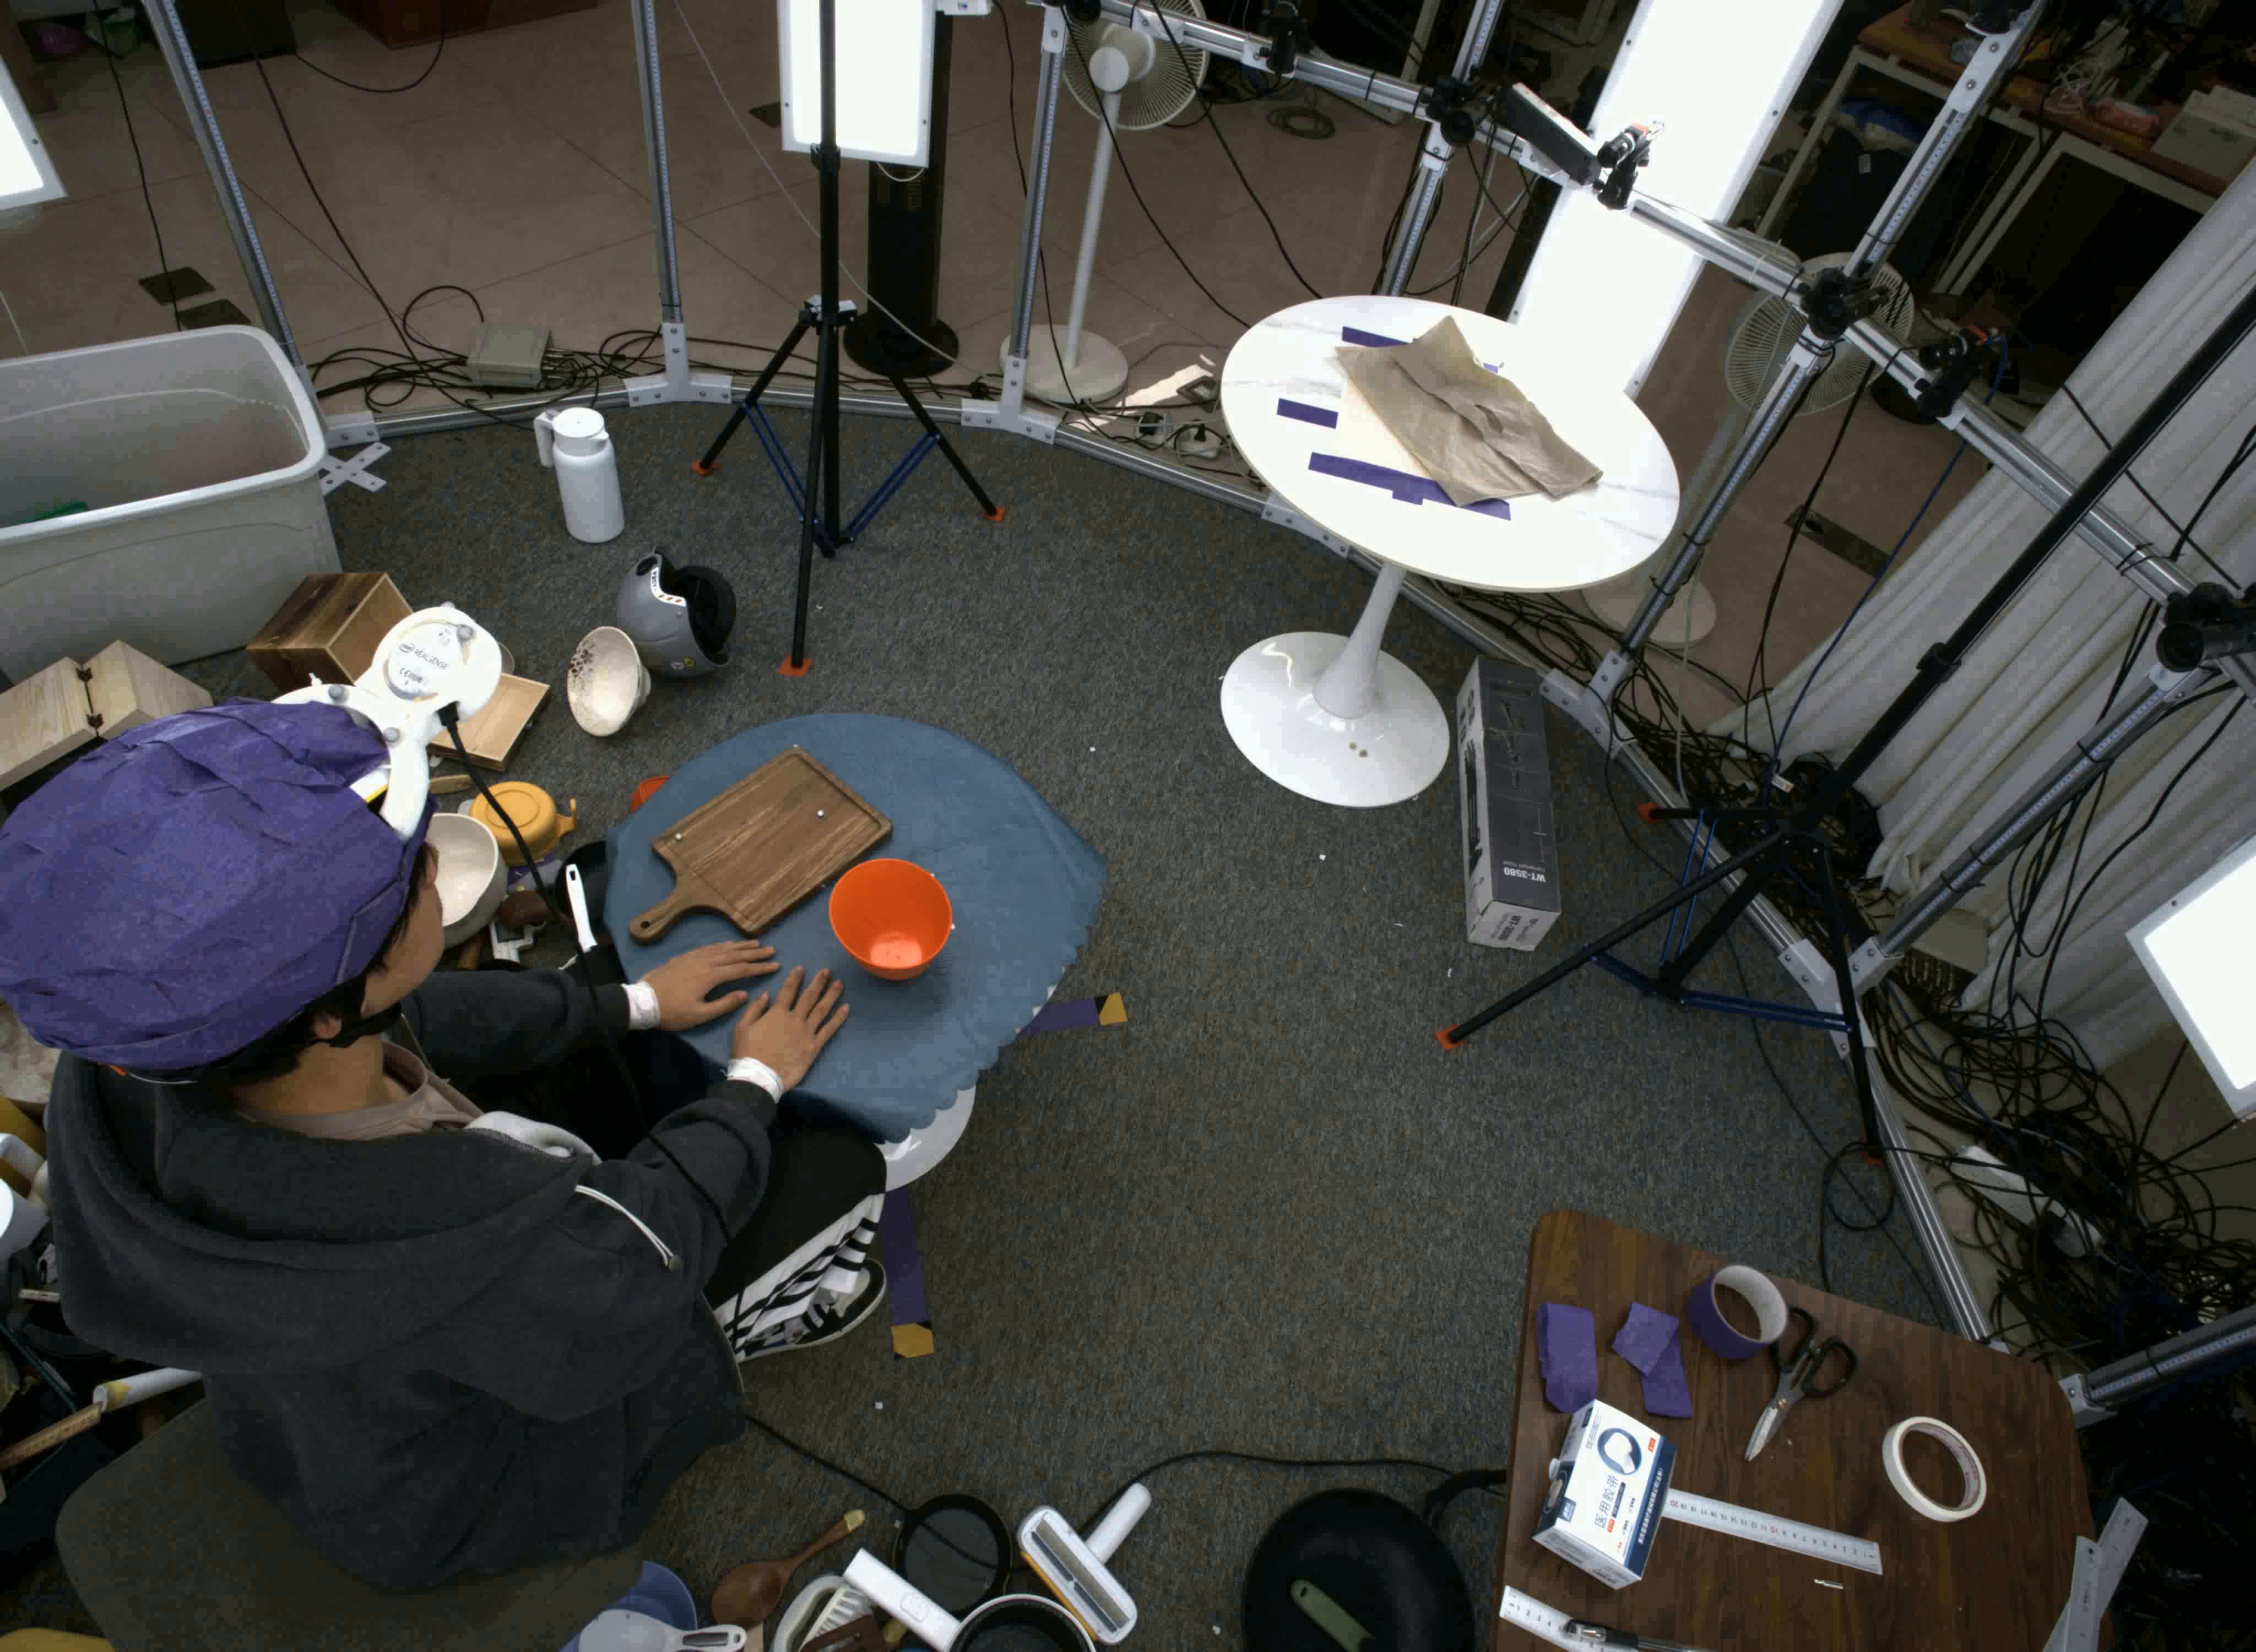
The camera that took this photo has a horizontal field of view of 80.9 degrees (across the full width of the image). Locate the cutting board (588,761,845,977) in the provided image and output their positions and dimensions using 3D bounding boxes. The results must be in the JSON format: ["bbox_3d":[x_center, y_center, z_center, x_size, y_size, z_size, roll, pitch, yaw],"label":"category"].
[{"bbox_3d":[-0.548,0.066,1.635,0.197,0.023,0.352,35,54,13],"label":"cutting board"}]

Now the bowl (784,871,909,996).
[{"bbox_3d":[-0.340,0.142,1.580,0.147,0.107,0.145,7,52,-8],"label":"bowl"}]
